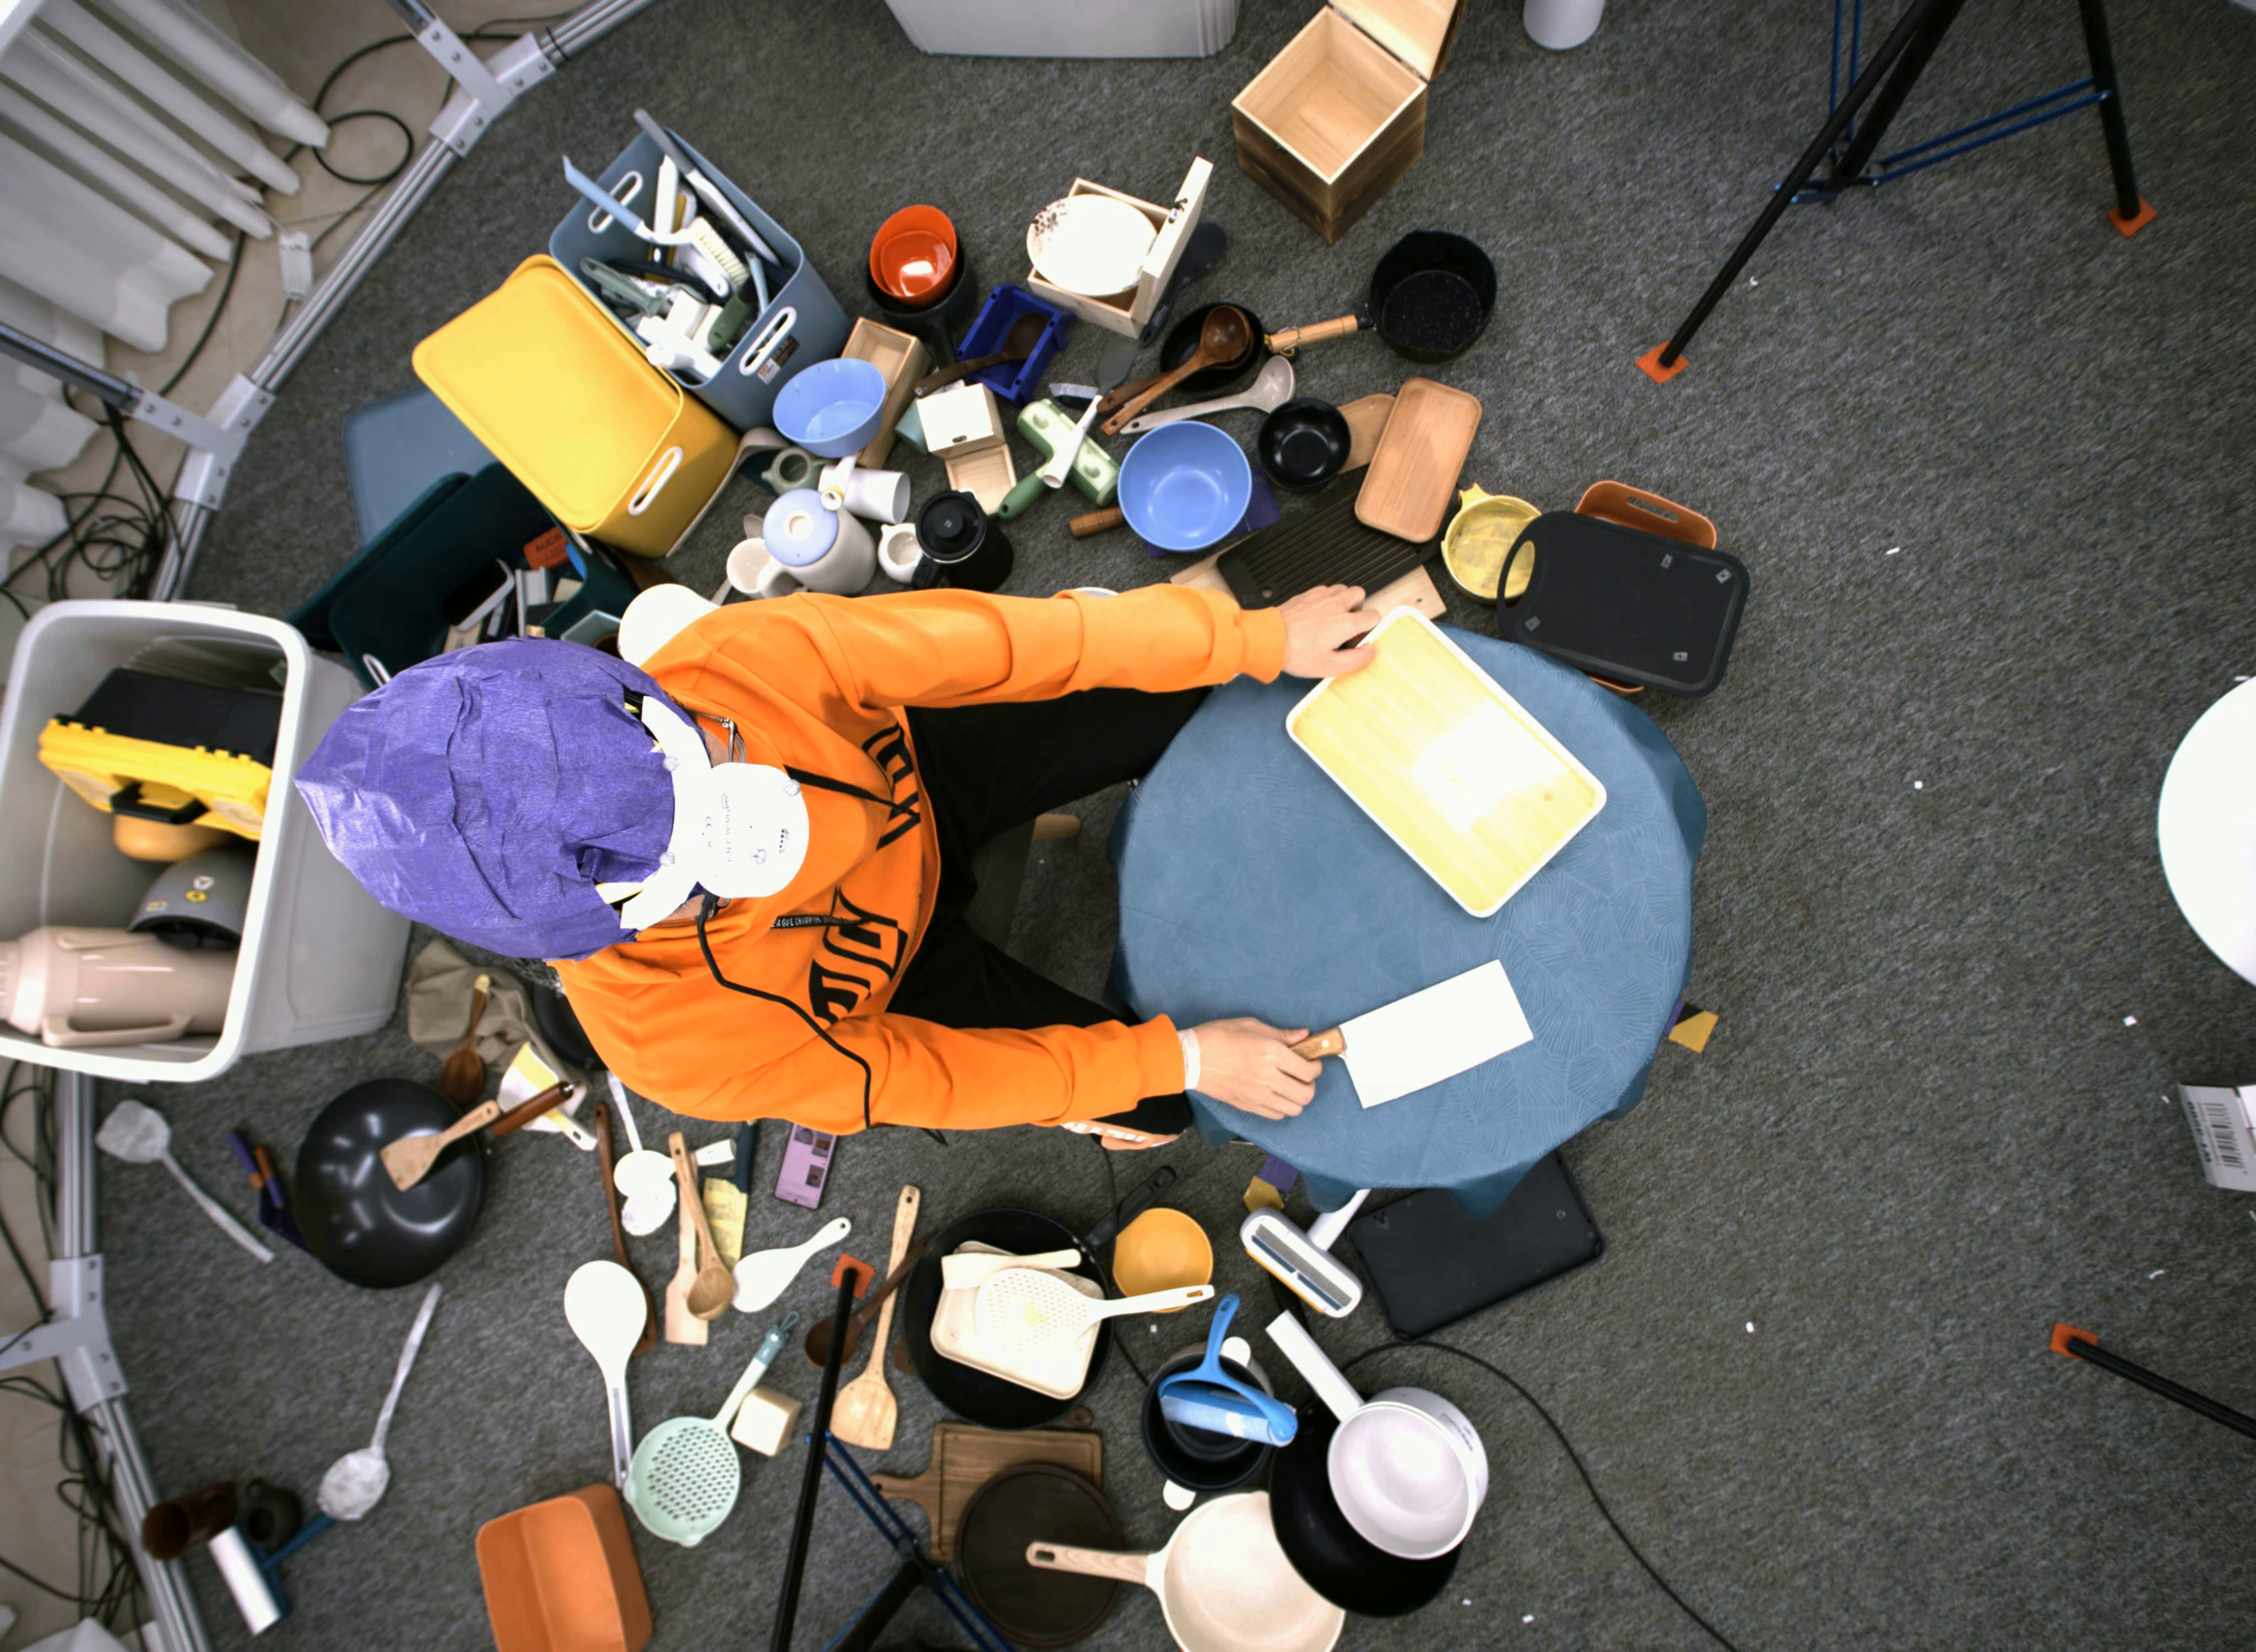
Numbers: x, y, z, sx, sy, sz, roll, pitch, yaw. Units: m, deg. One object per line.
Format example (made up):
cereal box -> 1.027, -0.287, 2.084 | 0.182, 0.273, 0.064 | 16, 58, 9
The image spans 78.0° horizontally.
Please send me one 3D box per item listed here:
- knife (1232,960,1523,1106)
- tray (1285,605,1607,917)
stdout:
knife -> 0.263, 0.235, 1.444 | 0.307, 0.021, 0.092 | -23, 85, 6
tray -> 0.330, -0.071, 1.443 | 0.192, 0.027, 0.299 | -45, 81, 5
